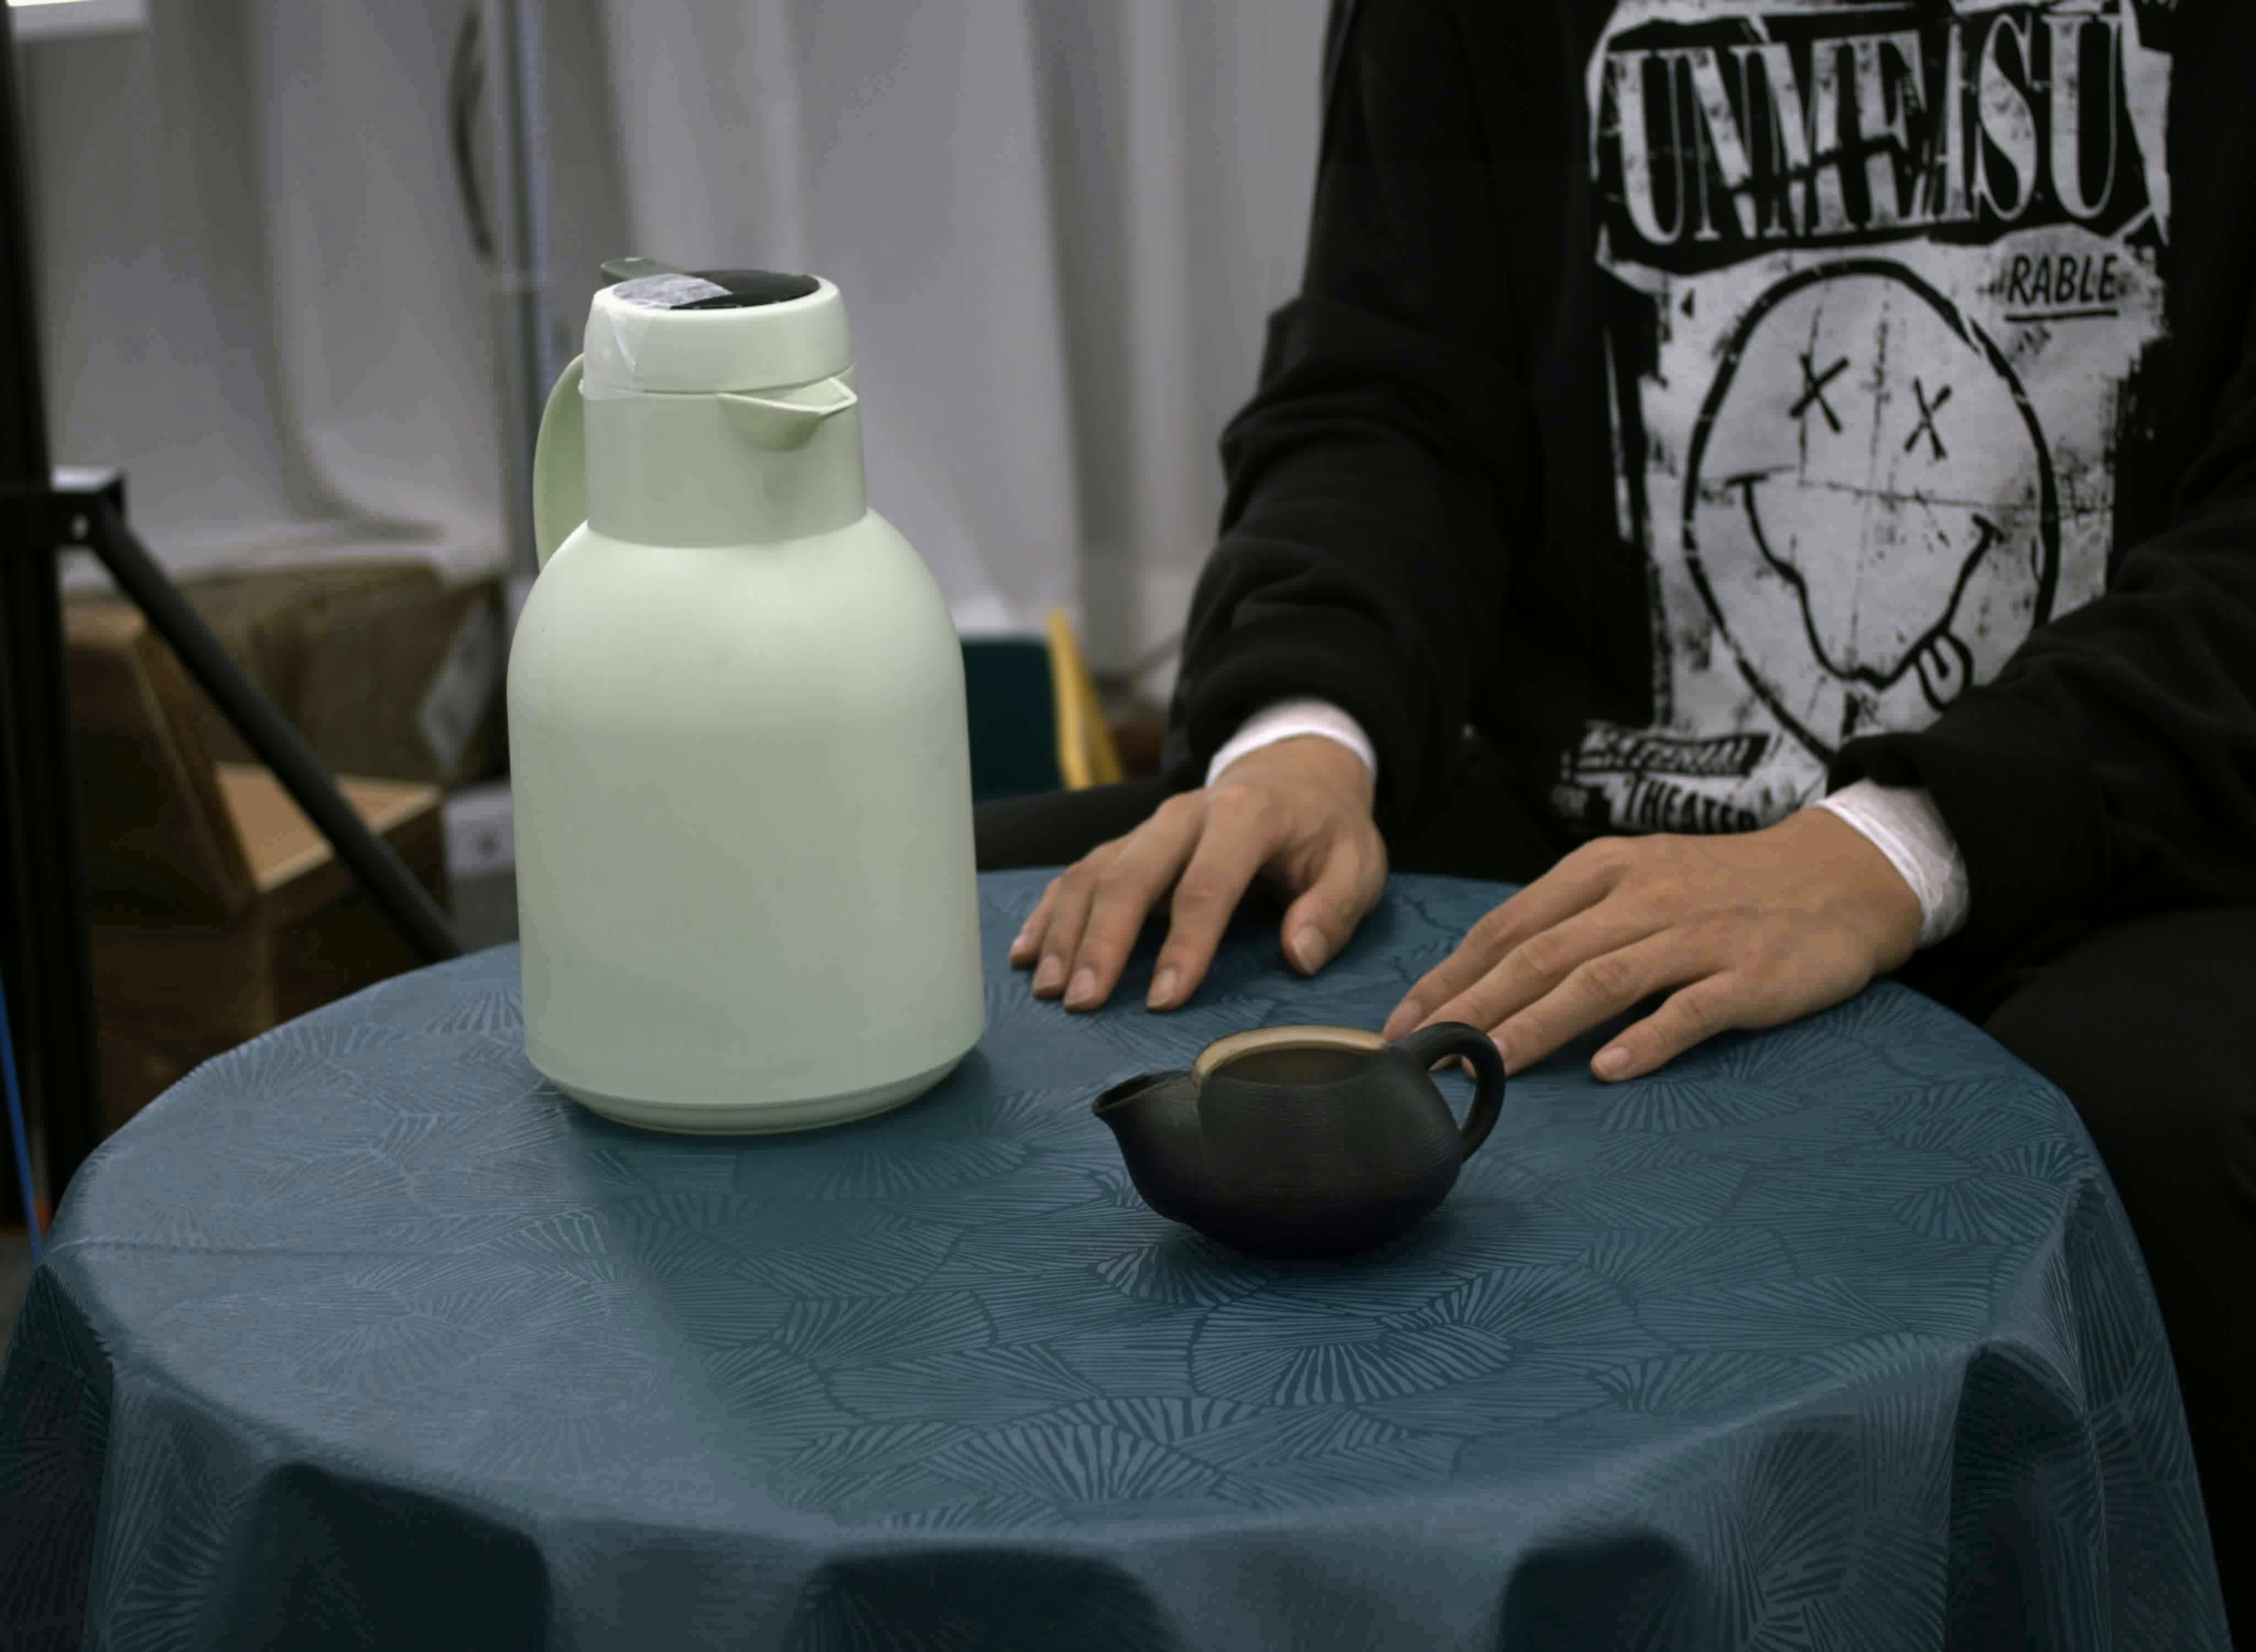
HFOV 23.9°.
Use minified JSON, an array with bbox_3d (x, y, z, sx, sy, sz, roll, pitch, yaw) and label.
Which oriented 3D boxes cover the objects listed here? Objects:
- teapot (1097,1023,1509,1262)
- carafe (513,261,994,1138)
[{"bbox_3d":[0.052,0.090,1.510,0.130,0.053,0.093,-11,19,-25],"label":"teapot"},{"bbox_3d":[-0.127,-0.045,1.659,0.141,0.257,0.191,-12,15,-29],"label":"carafe"}]
